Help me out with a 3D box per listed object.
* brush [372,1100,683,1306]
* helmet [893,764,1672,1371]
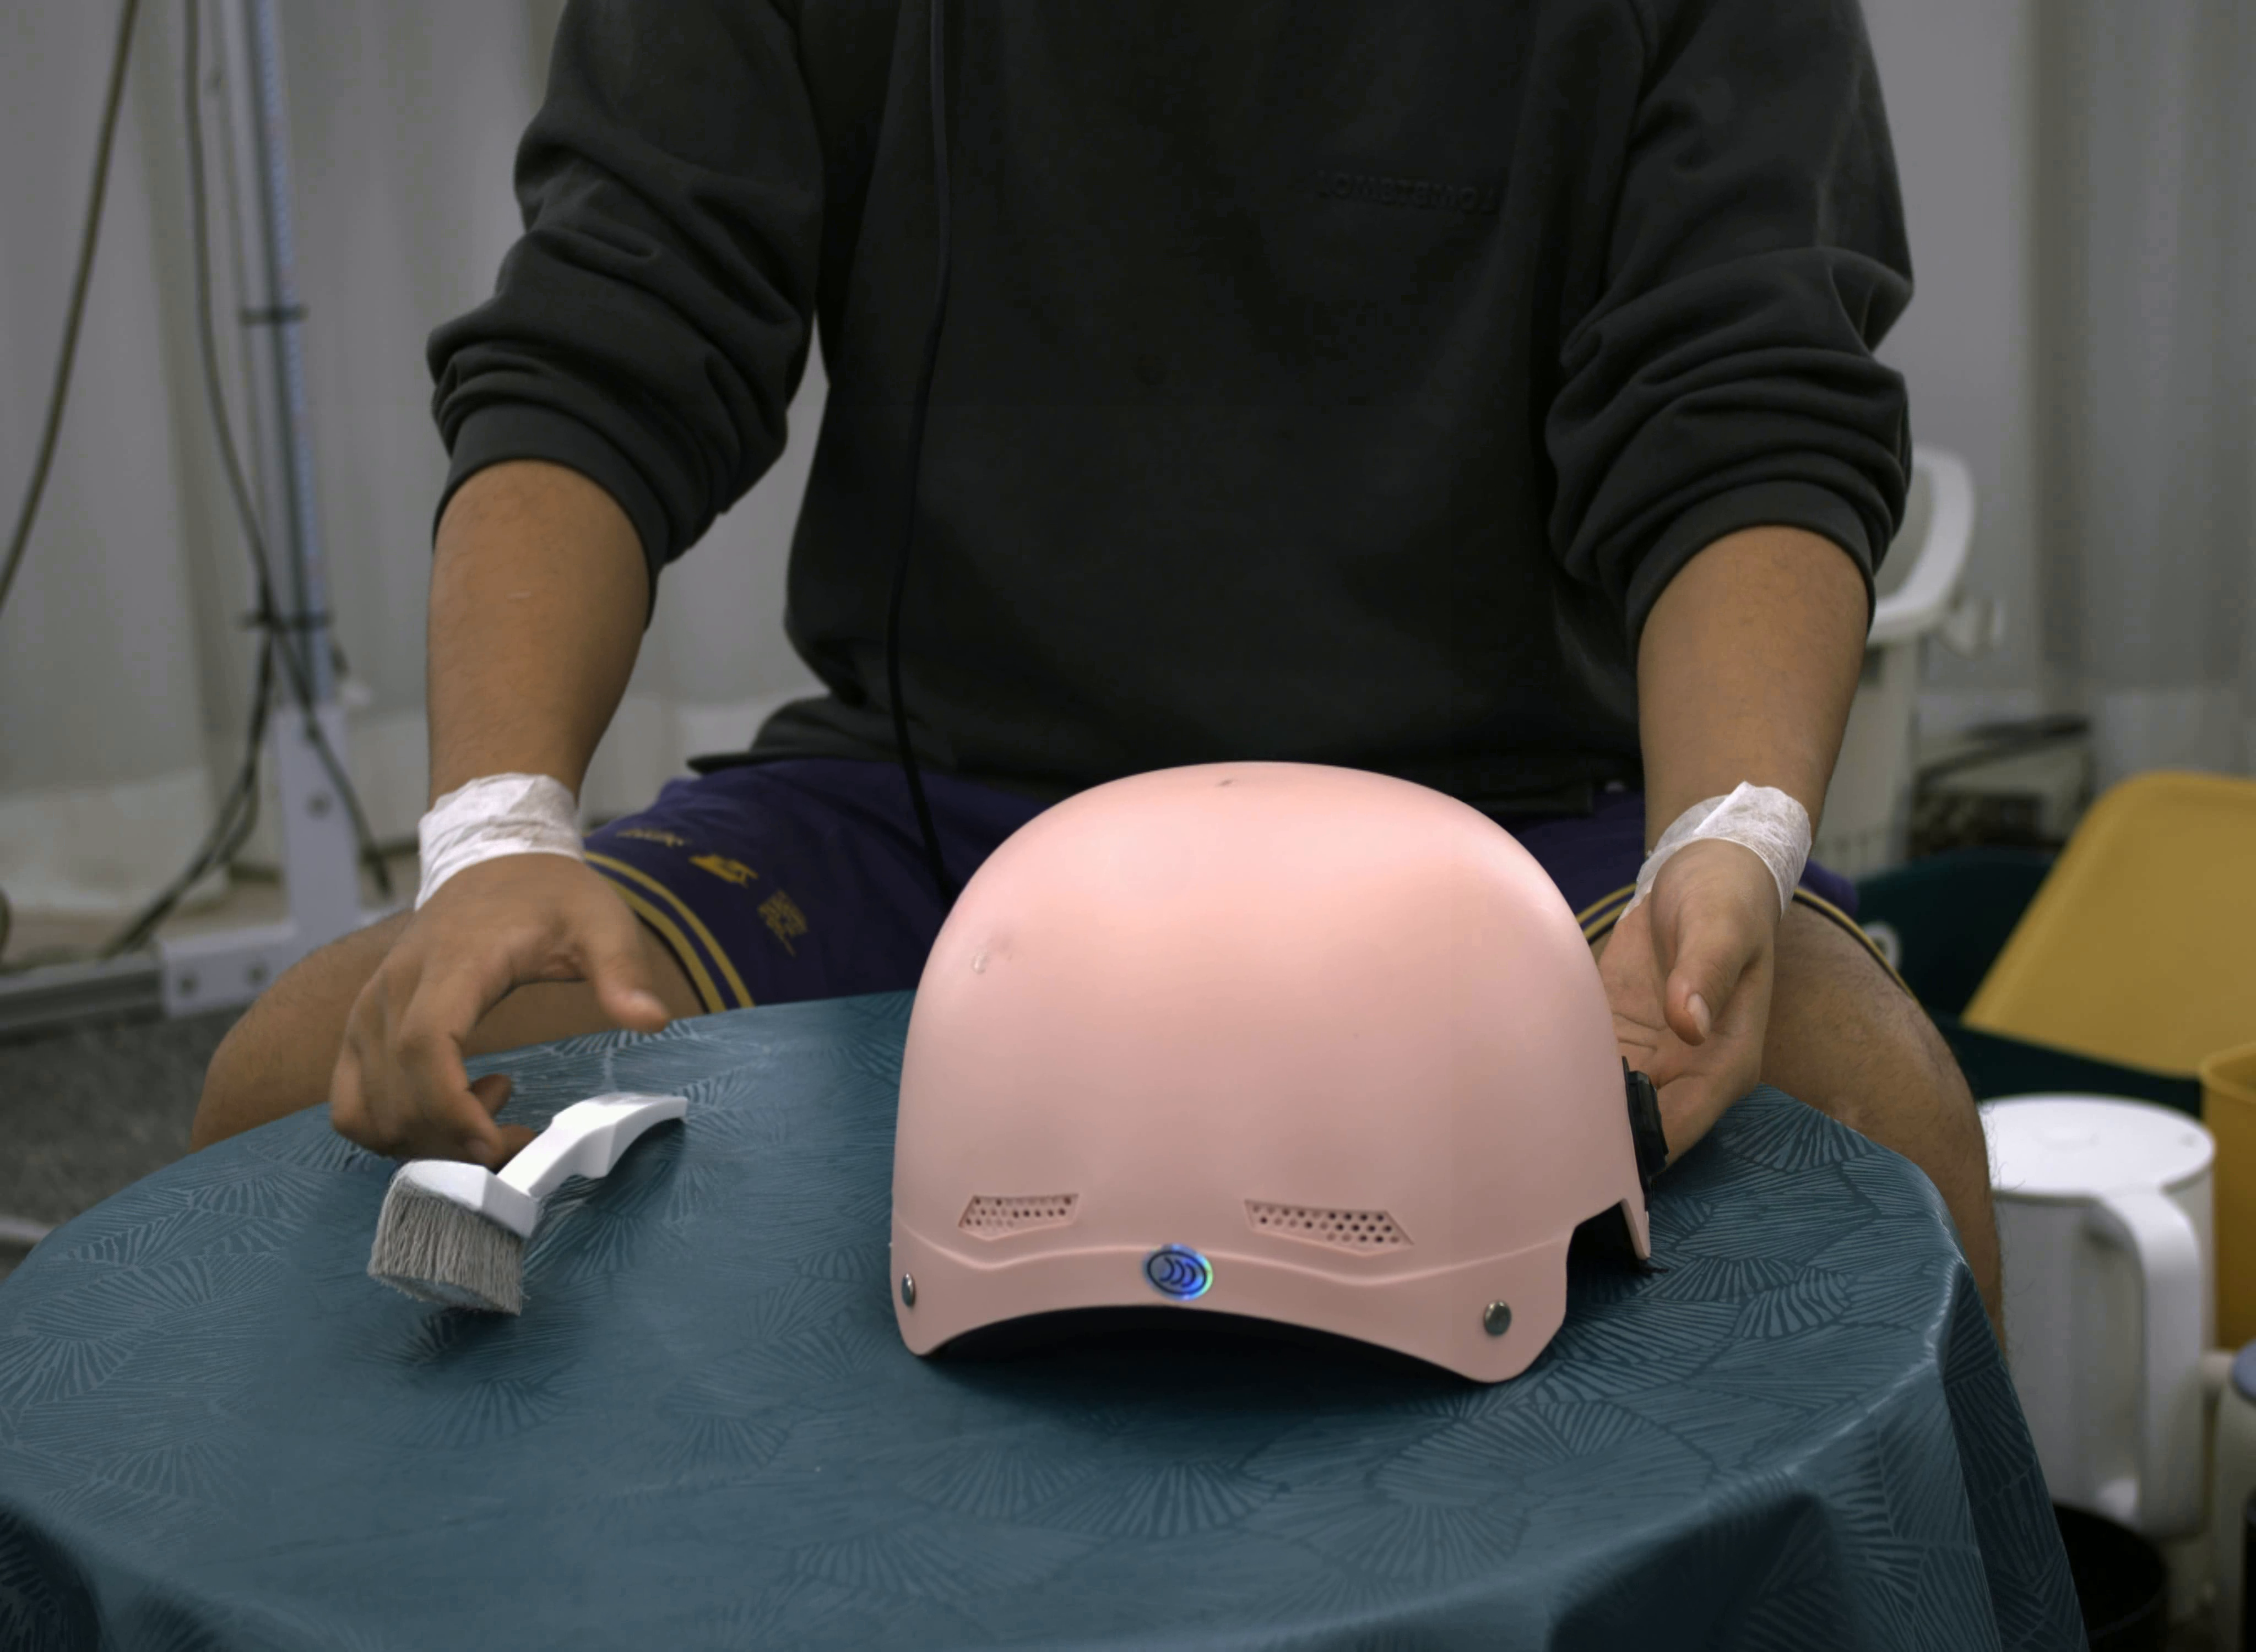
[{"bbox_3d":[-0.182,0.117,1.701,0.034,0.050,0.243,4,2,11],"label":"brush"},{"bbox_3d":[0.042,0.059,1.629,0.234,0.158,0.266,0,10,15],"label":"helmet"}]
